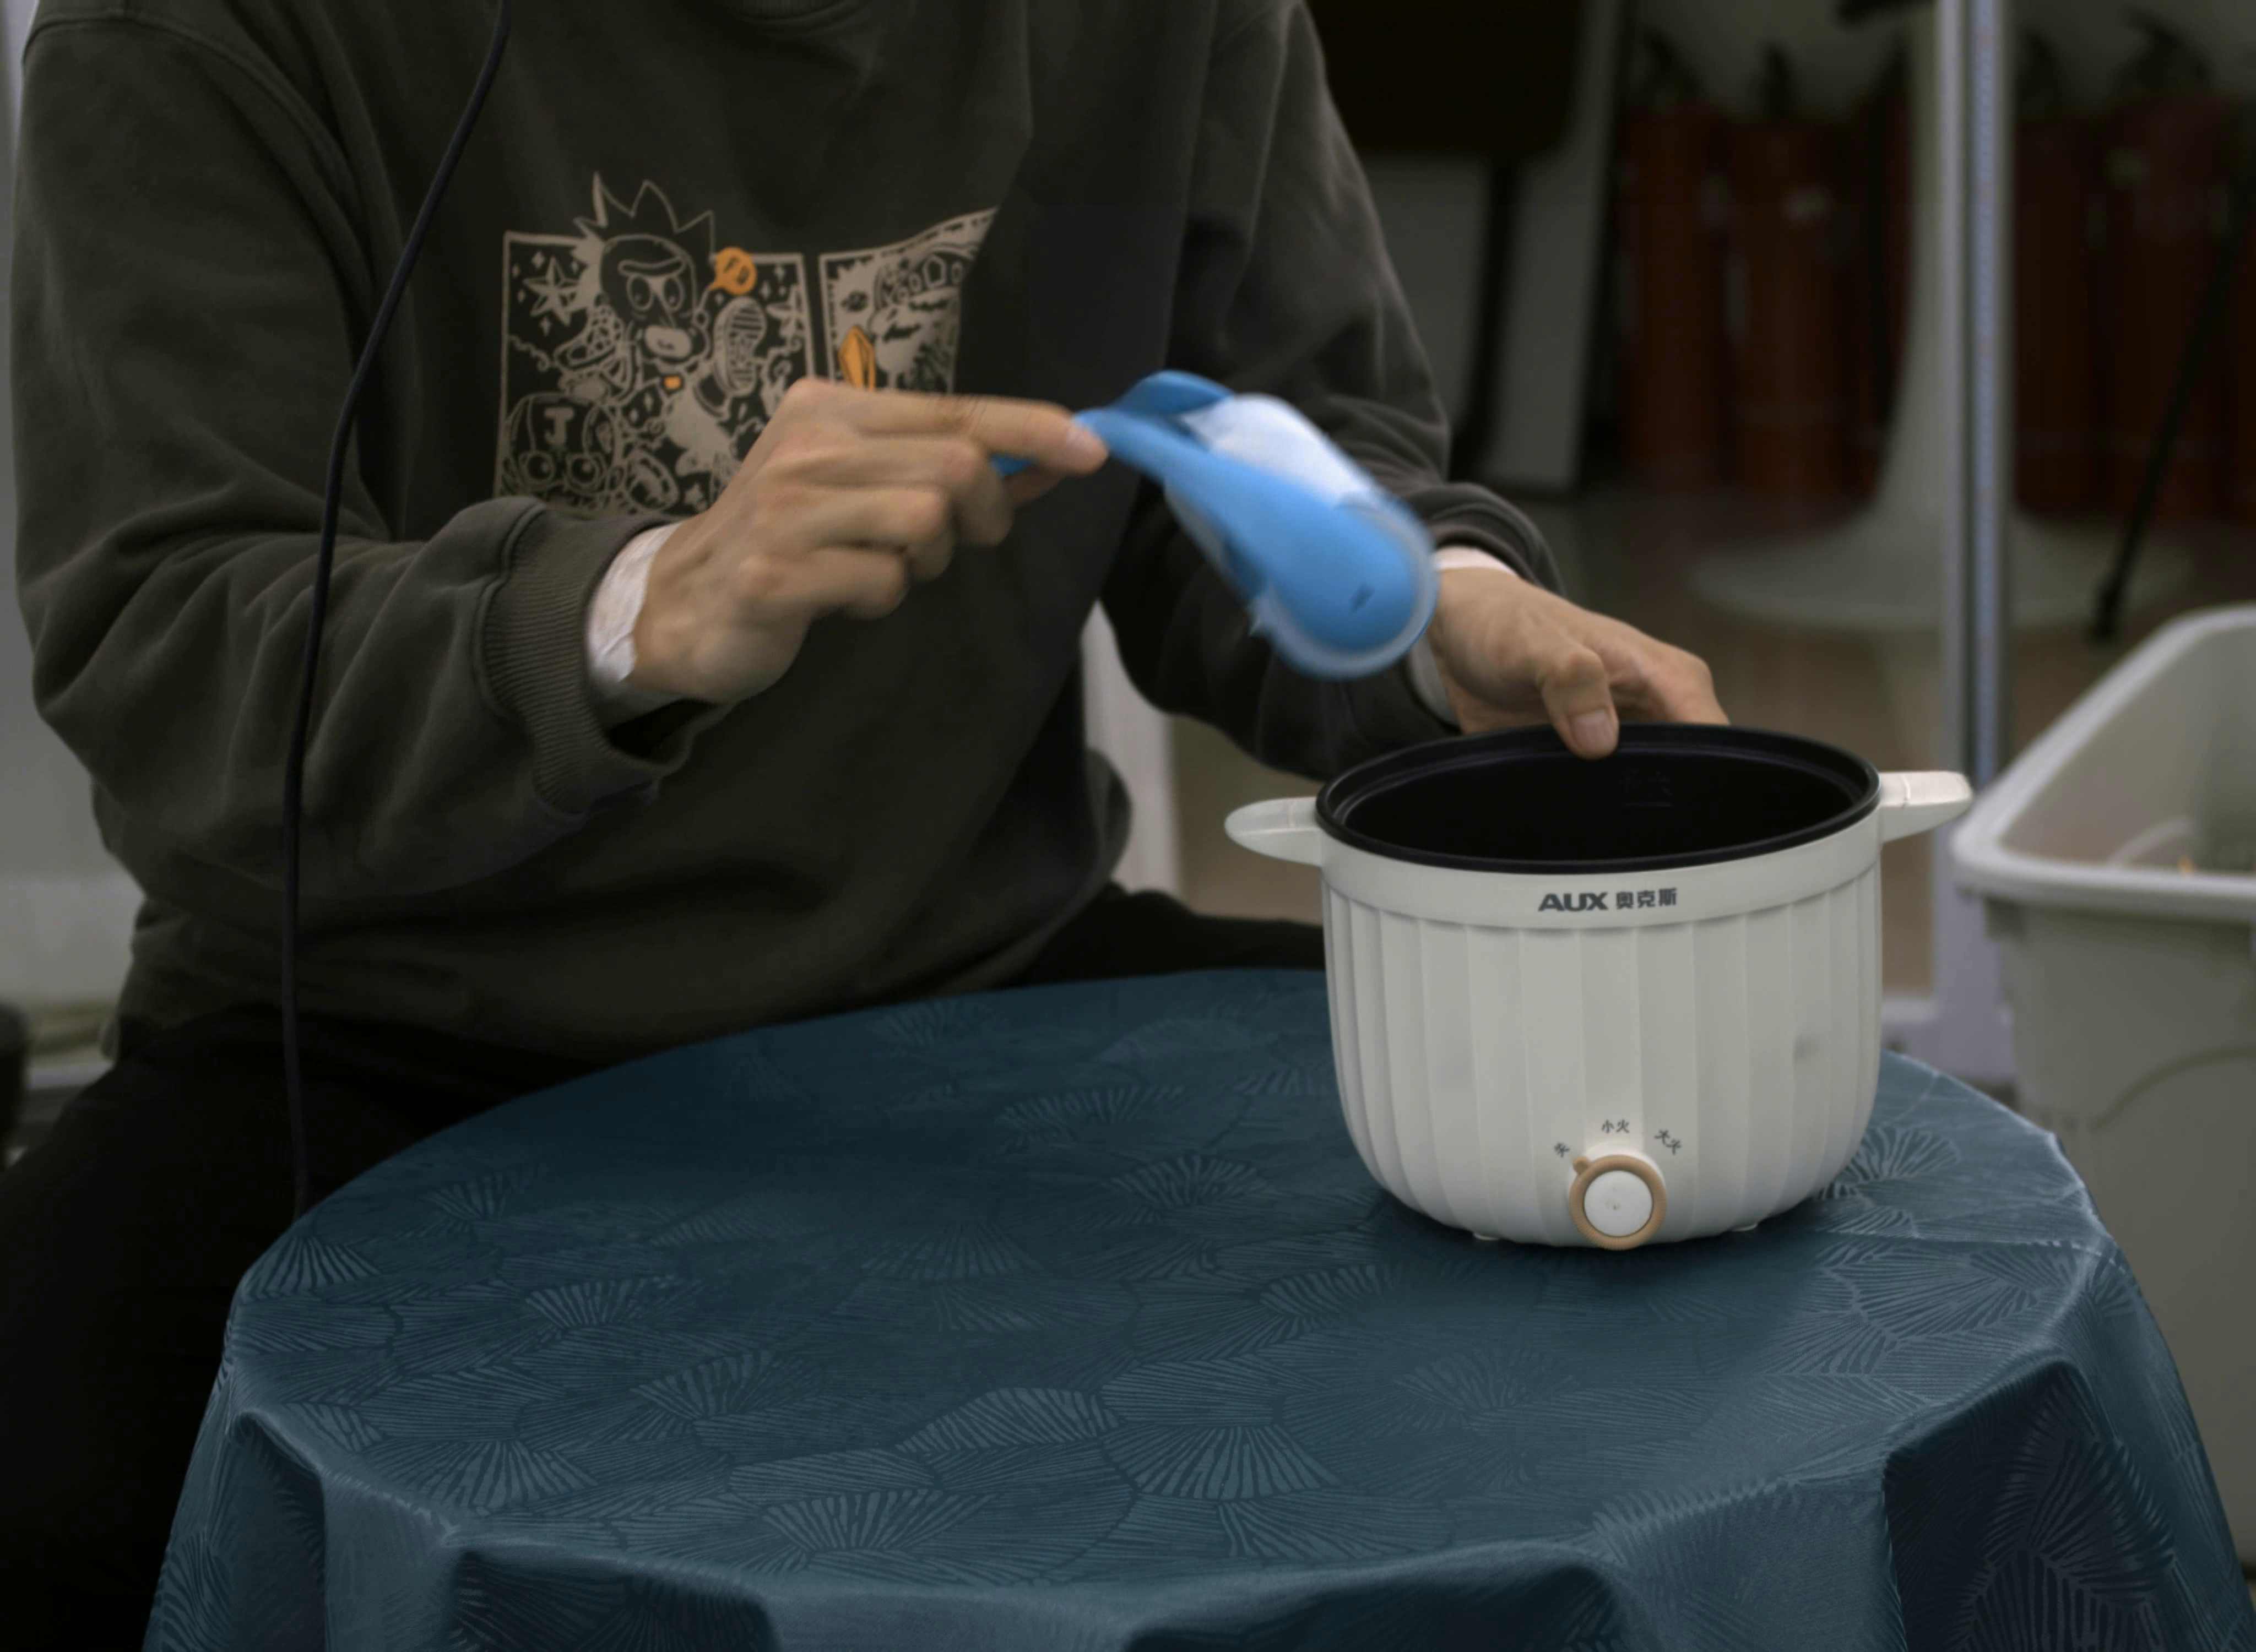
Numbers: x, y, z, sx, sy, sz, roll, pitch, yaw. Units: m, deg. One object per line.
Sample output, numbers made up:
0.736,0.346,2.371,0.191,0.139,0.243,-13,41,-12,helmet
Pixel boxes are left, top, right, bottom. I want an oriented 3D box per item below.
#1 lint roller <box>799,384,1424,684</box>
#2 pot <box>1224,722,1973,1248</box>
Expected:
-0.010,-0.092,1.651,0.177,0.069,0.230,2,13,-9,lint roller
0.154,0.053,1.715,0.238,0.144,0.190,-4,10,5,pot
